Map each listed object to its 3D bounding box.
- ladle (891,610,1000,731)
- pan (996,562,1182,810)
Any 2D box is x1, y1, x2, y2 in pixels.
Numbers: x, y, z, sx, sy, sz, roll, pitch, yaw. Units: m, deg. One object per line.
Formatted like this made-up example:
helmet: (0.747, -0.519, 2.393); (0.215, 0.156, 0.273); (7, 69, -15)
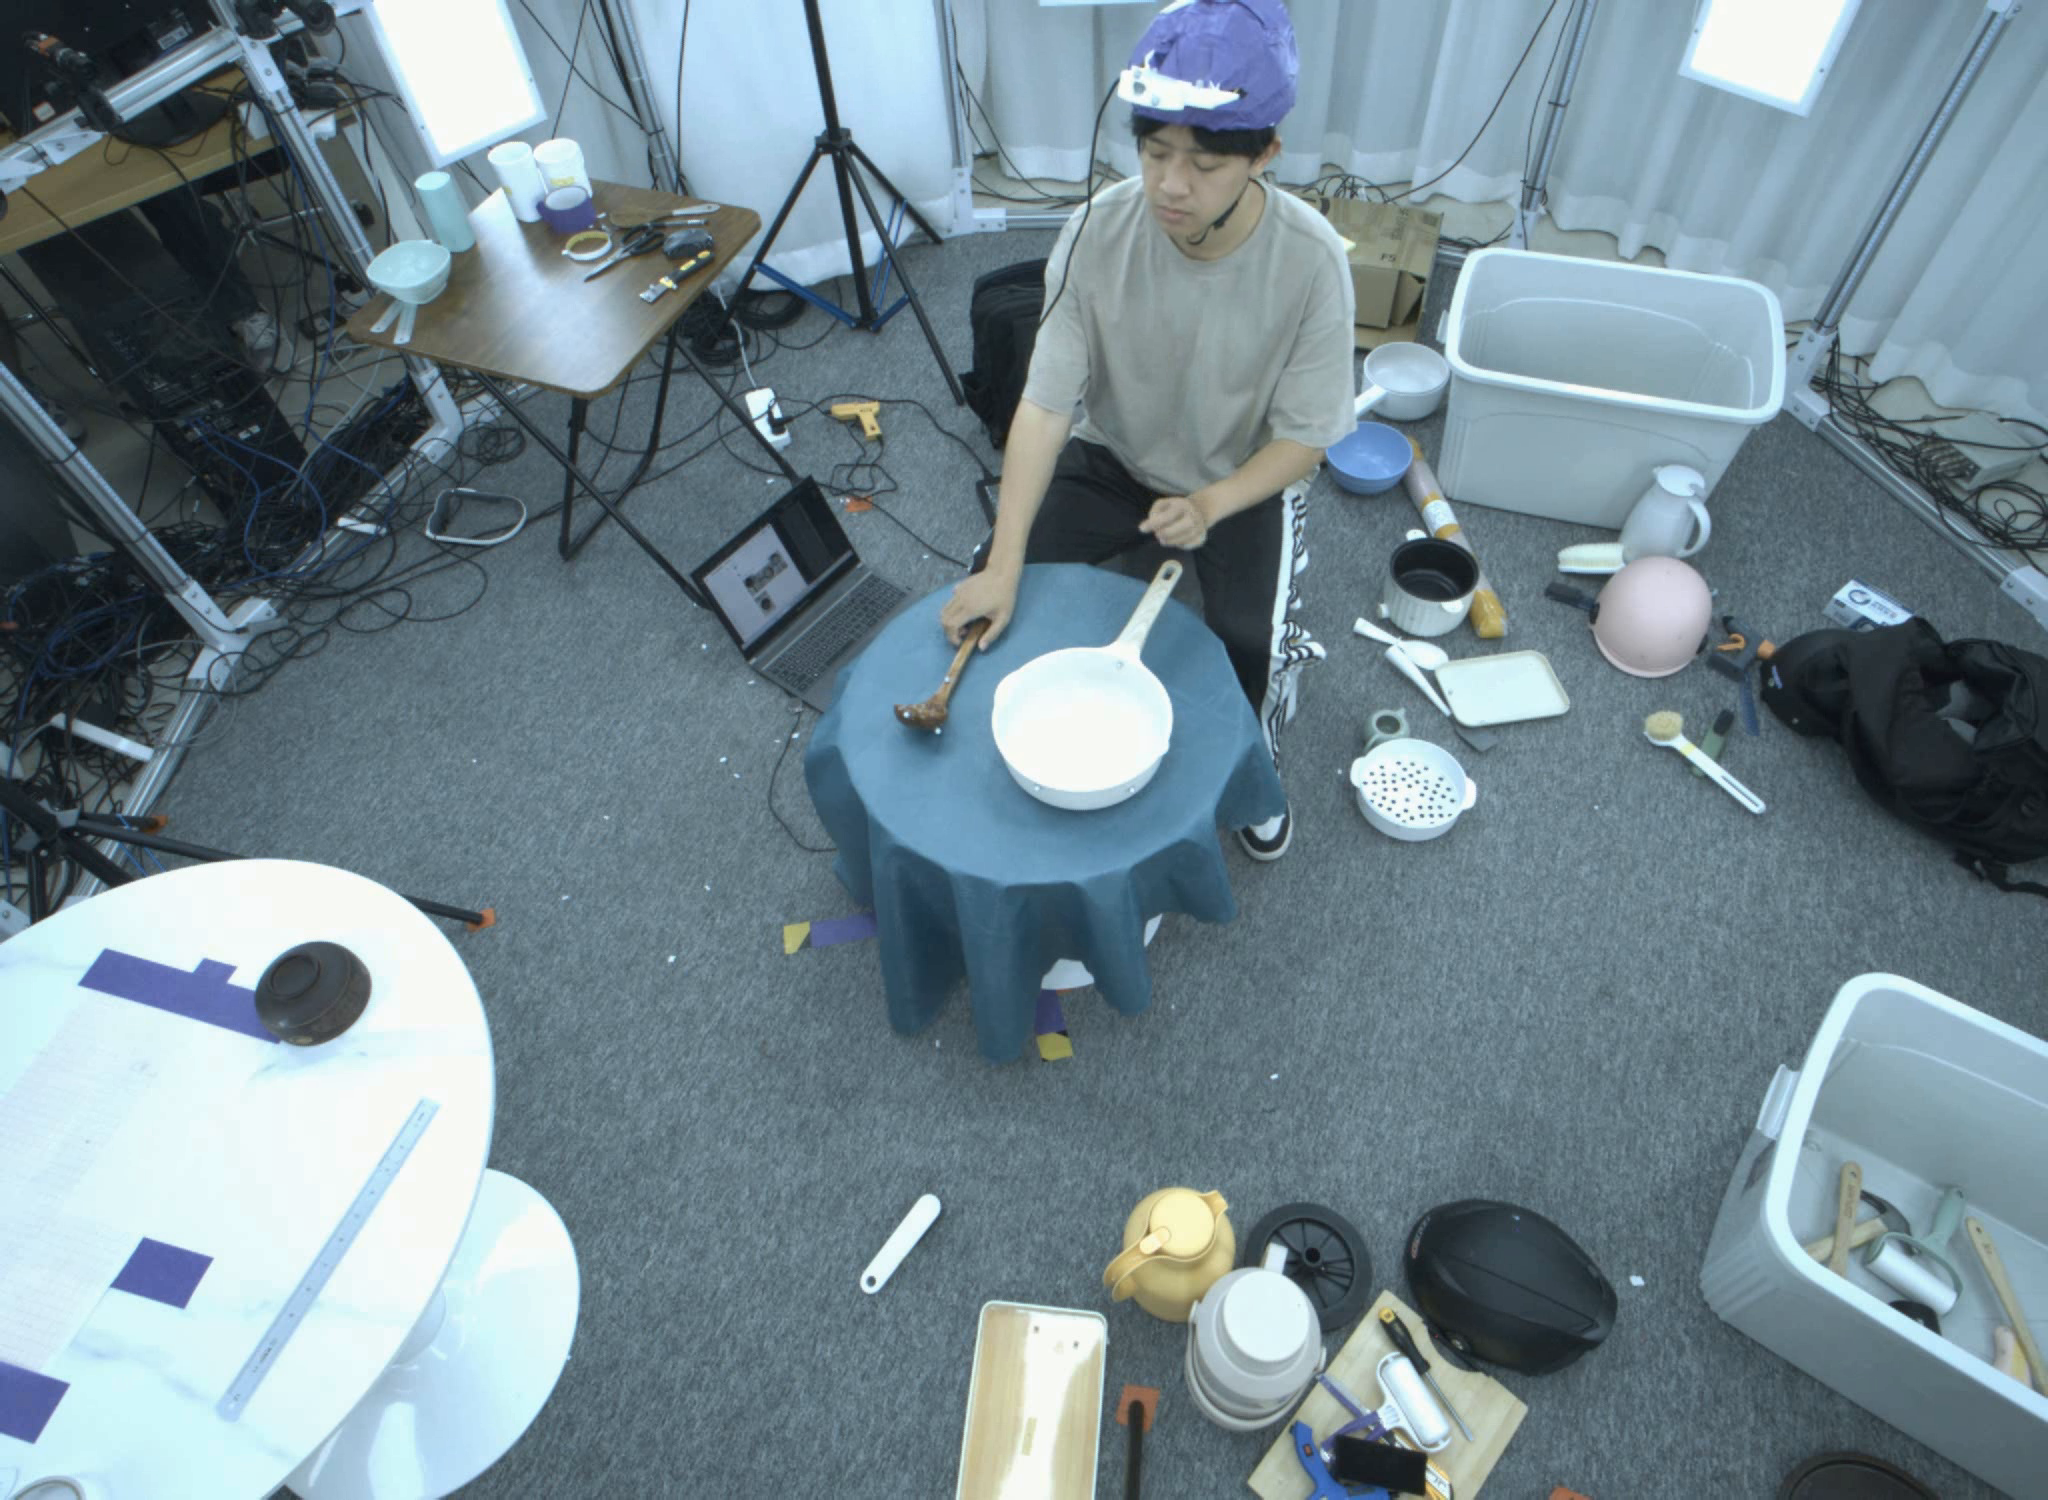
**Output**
ladle: (-0.111, -0.133, 1.836); (0.081, 0.077, 0.274); (17, 58, 18)
pan: (0.132, -0.094, 1.786); (0.259, 0.103, 0.436); (22, 58, 19)
